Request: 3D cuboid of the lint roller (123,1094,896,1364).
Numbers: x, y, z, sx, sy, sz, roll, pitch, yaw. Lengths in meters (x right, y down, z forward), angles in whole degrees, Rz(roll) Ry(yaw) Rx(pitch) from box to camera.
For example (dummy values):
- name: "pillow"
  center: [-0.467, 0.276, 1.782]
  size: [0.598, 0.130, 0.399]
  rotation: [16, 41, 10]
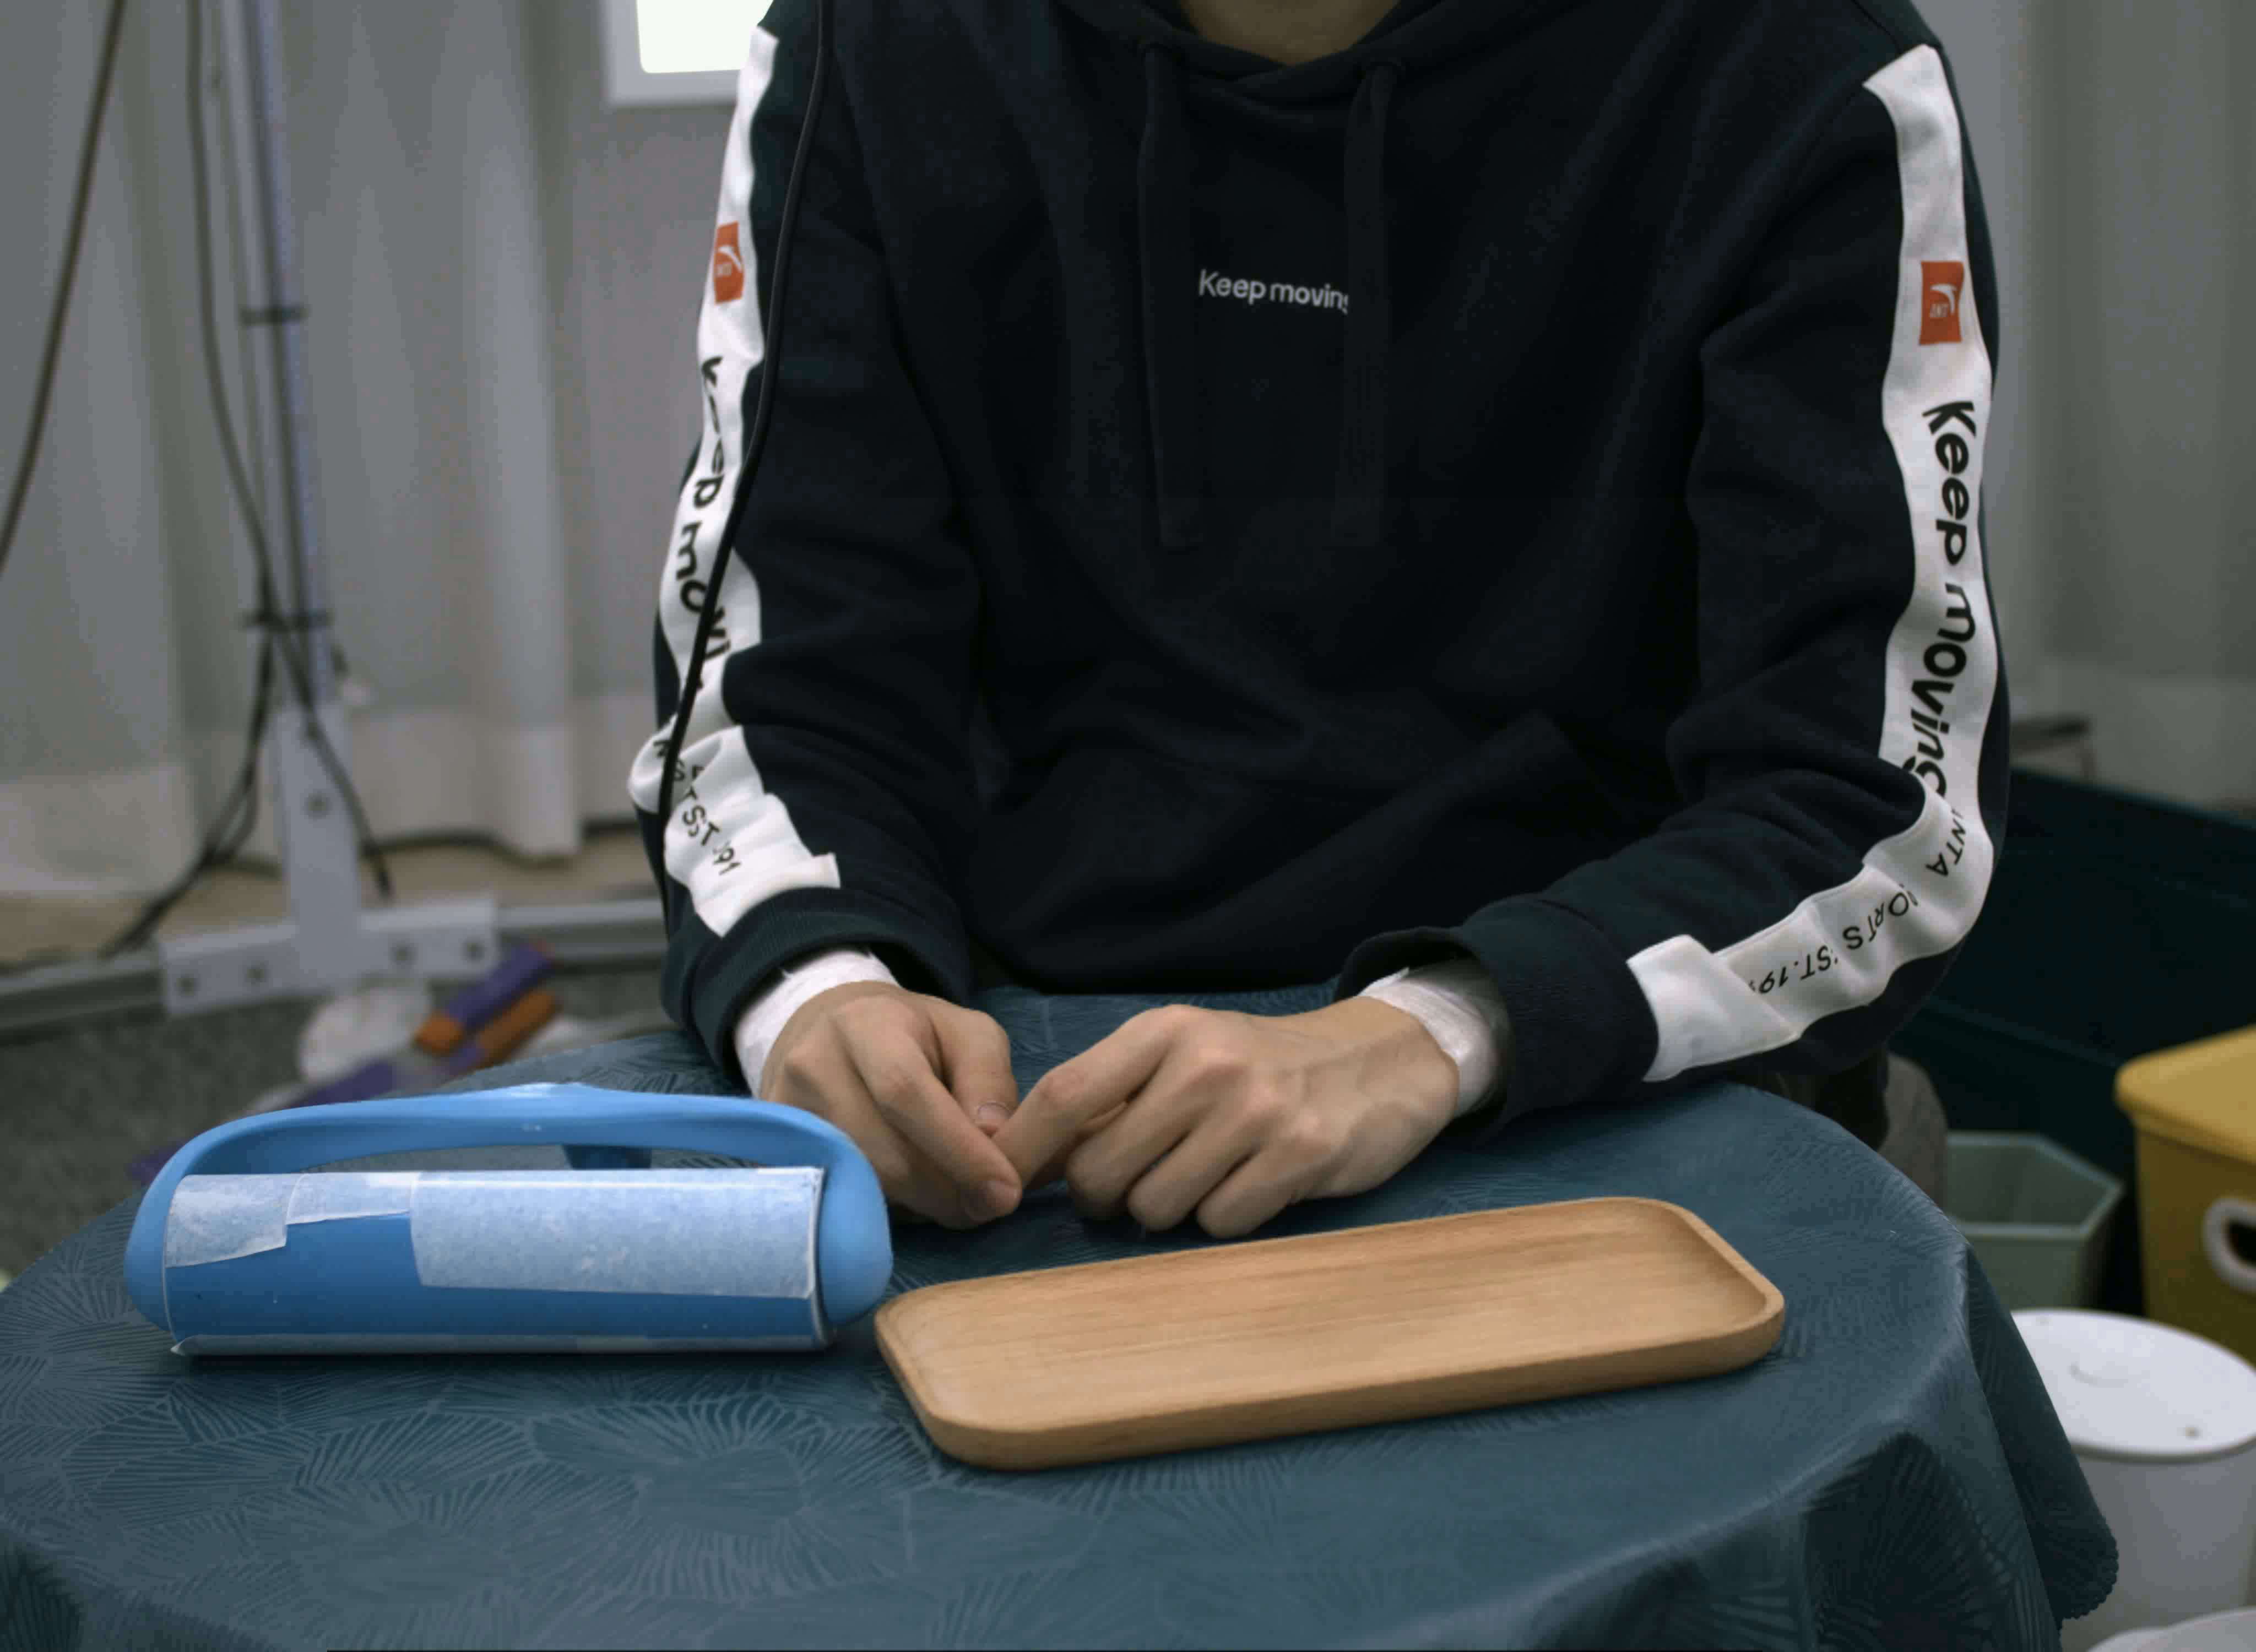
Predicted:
- name: "lint roller"
  center: [-0.177, 0.111, 1.654]
  size: [0.228, 0.067, 0.181]
  rotation: [-3, 15, 5]

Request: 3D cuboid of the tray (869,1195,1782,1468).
- name: "tray"
  center: [0.055, 0.144, 1.561]
  size: [0.249, 0.023, 0.131]
  rotation: [-7, 13, -11]
